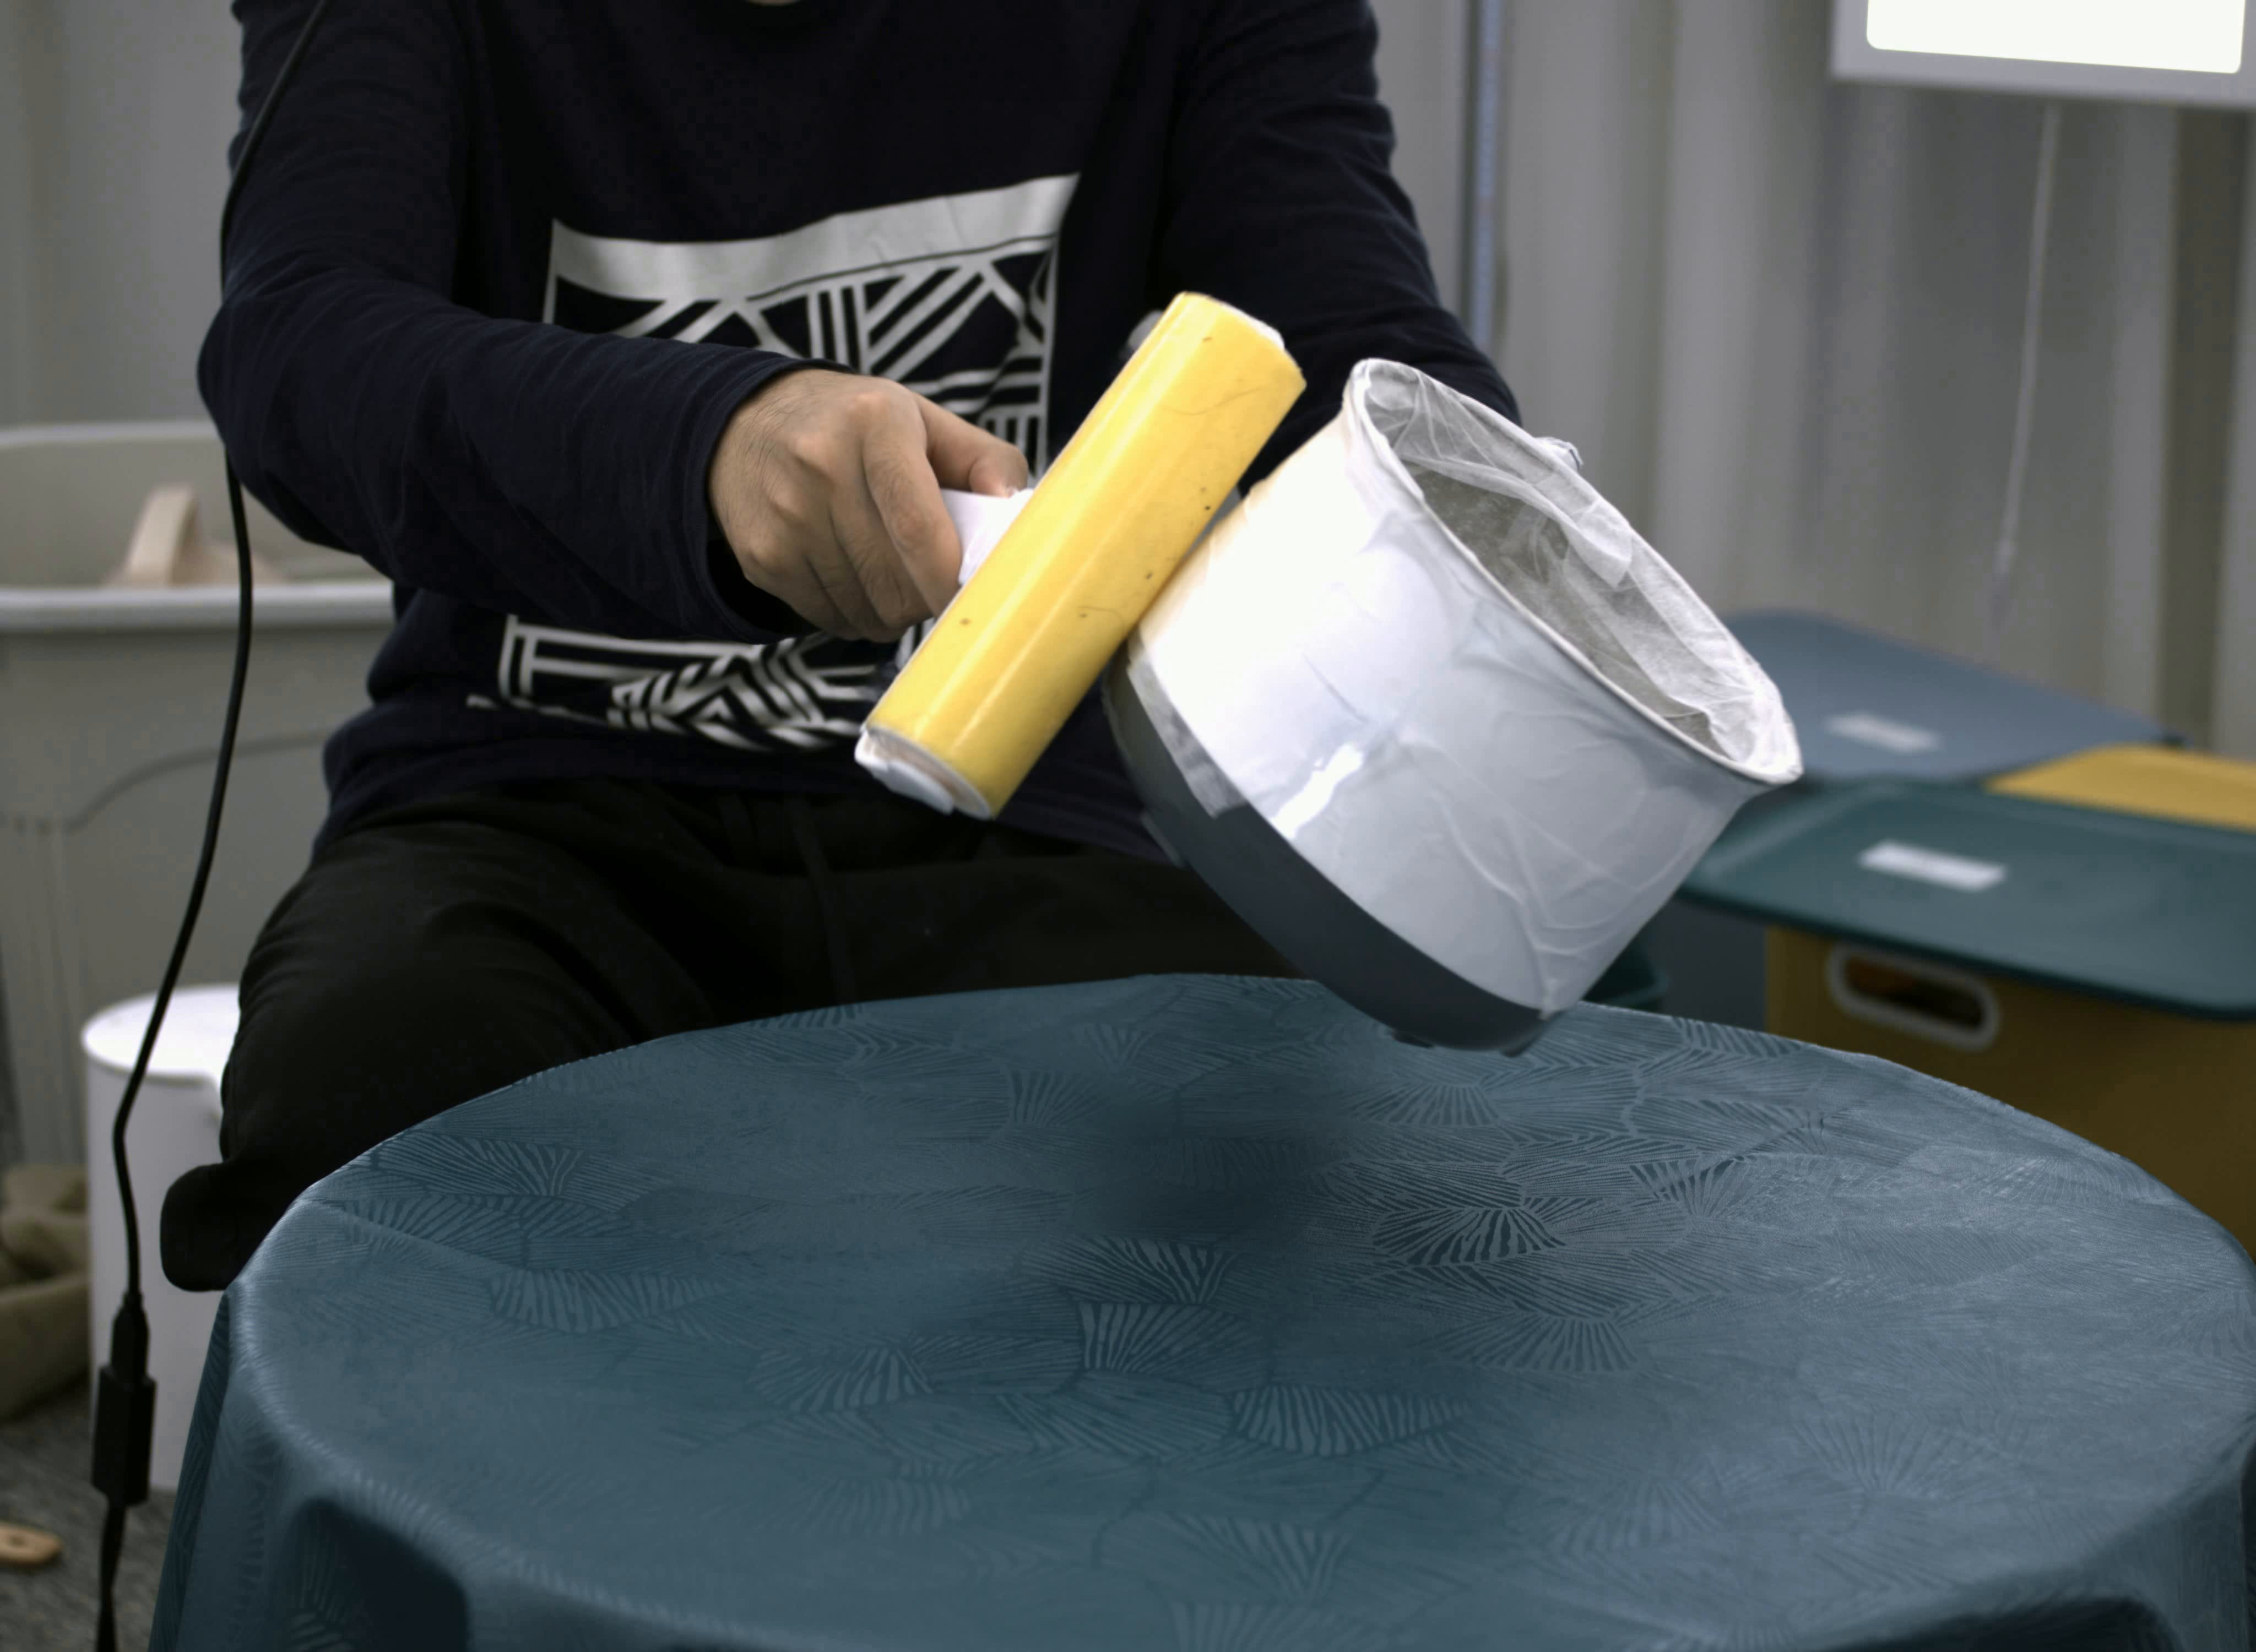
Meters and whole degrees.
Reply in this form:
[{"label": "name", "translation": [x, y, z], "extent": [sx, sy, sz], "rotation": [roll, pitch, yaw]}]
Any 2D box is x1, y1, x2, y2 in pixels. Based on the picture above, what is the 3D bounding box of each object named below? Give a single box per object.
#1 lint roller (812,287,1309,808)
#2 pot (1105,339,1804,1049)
[{"label": "lint roller", "translation": [-0.052, -0.092, 1.590], "extent": [0.189, 0.052, 0.174], "rotation": [17, 66, 53]}, {"label": "pot", "translation": [0.092, -0.047, 1.576], "extent": [0.180, 0.136, 0.232], "rotation": [40, 20, -16]}]
